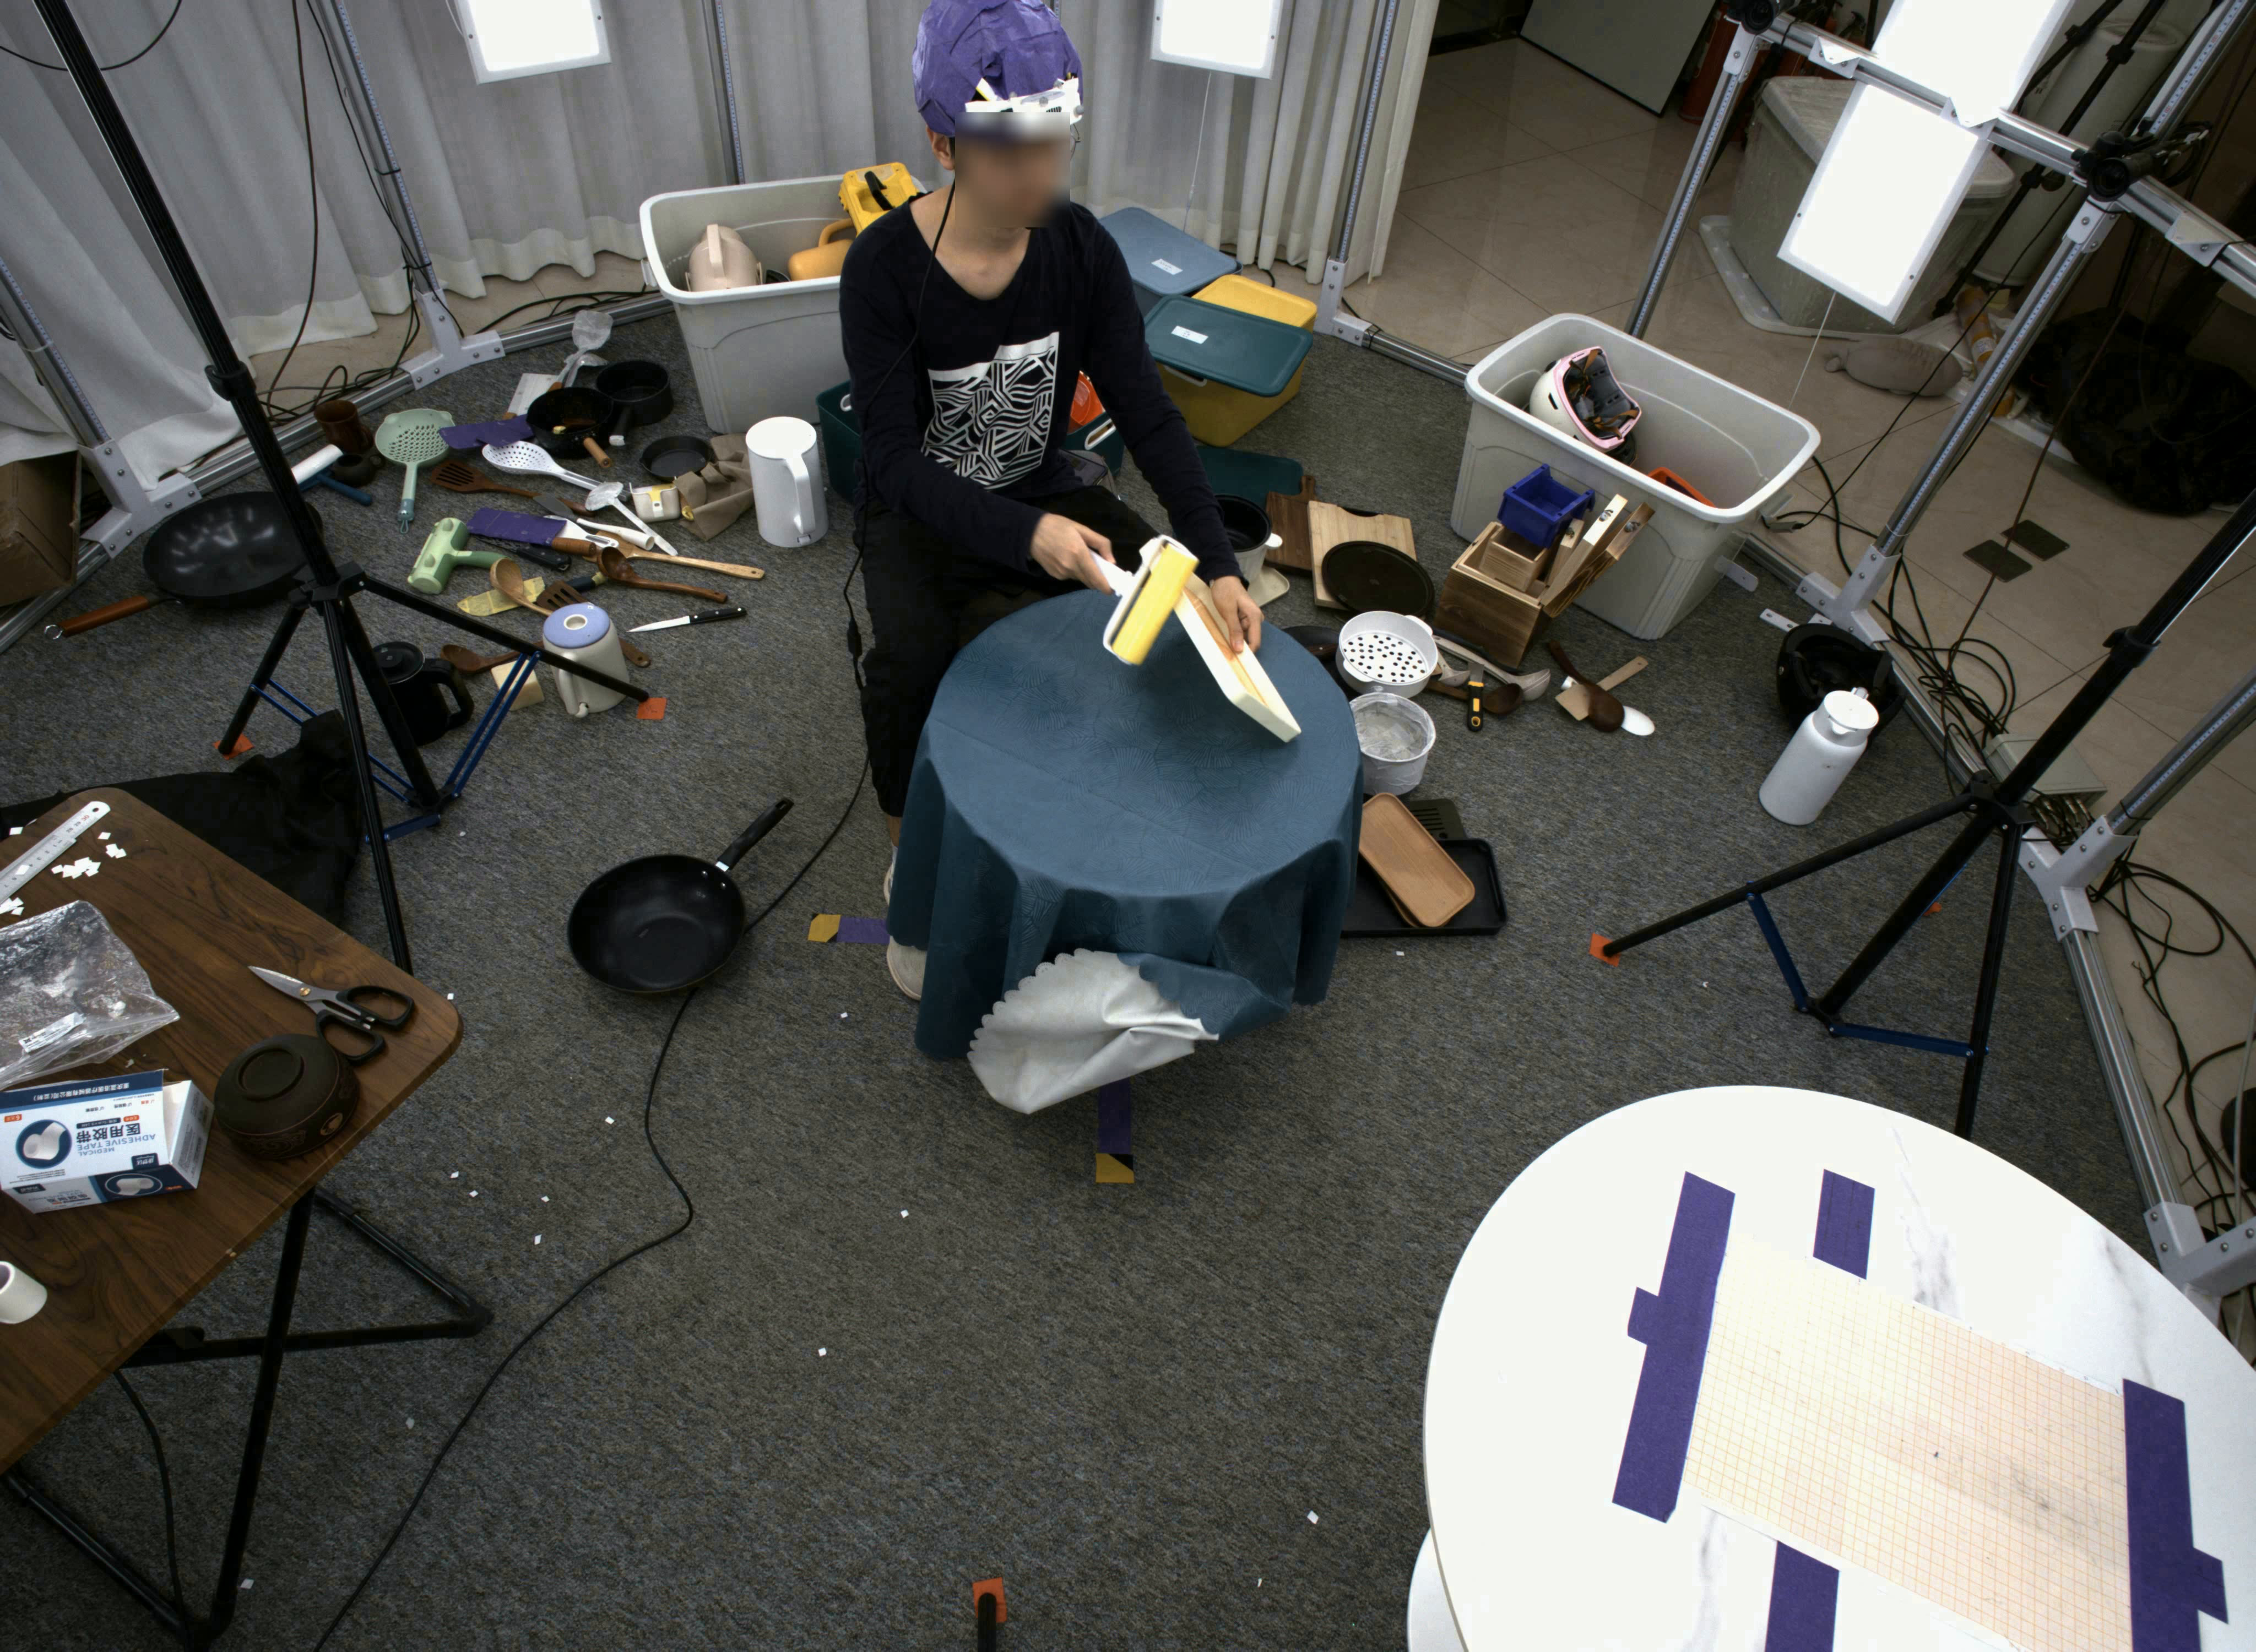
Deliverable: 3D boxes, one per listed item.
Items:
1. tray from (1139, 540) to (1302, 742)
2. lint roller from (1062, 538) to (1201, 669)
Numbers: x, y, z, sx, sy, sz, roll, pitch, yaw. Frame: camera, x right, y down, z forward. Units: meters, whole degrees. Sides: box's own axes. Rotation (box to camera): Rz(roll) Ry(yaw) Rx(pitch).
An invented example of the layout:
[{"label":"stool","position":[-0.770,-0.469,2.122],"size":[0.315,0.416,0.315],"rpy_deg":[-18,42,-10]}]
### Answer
[{"label":"tray","position":[0.127,-0.256,1.780],"size":[0.027,0.189,0.307],"rpy_deg":[-39,57,17]},{"label":"lint roller","position":[-0.019,-0.330,1.736],"size":[0.194,0.173,0.051],"rpy_deg":[33,15,17]}]
